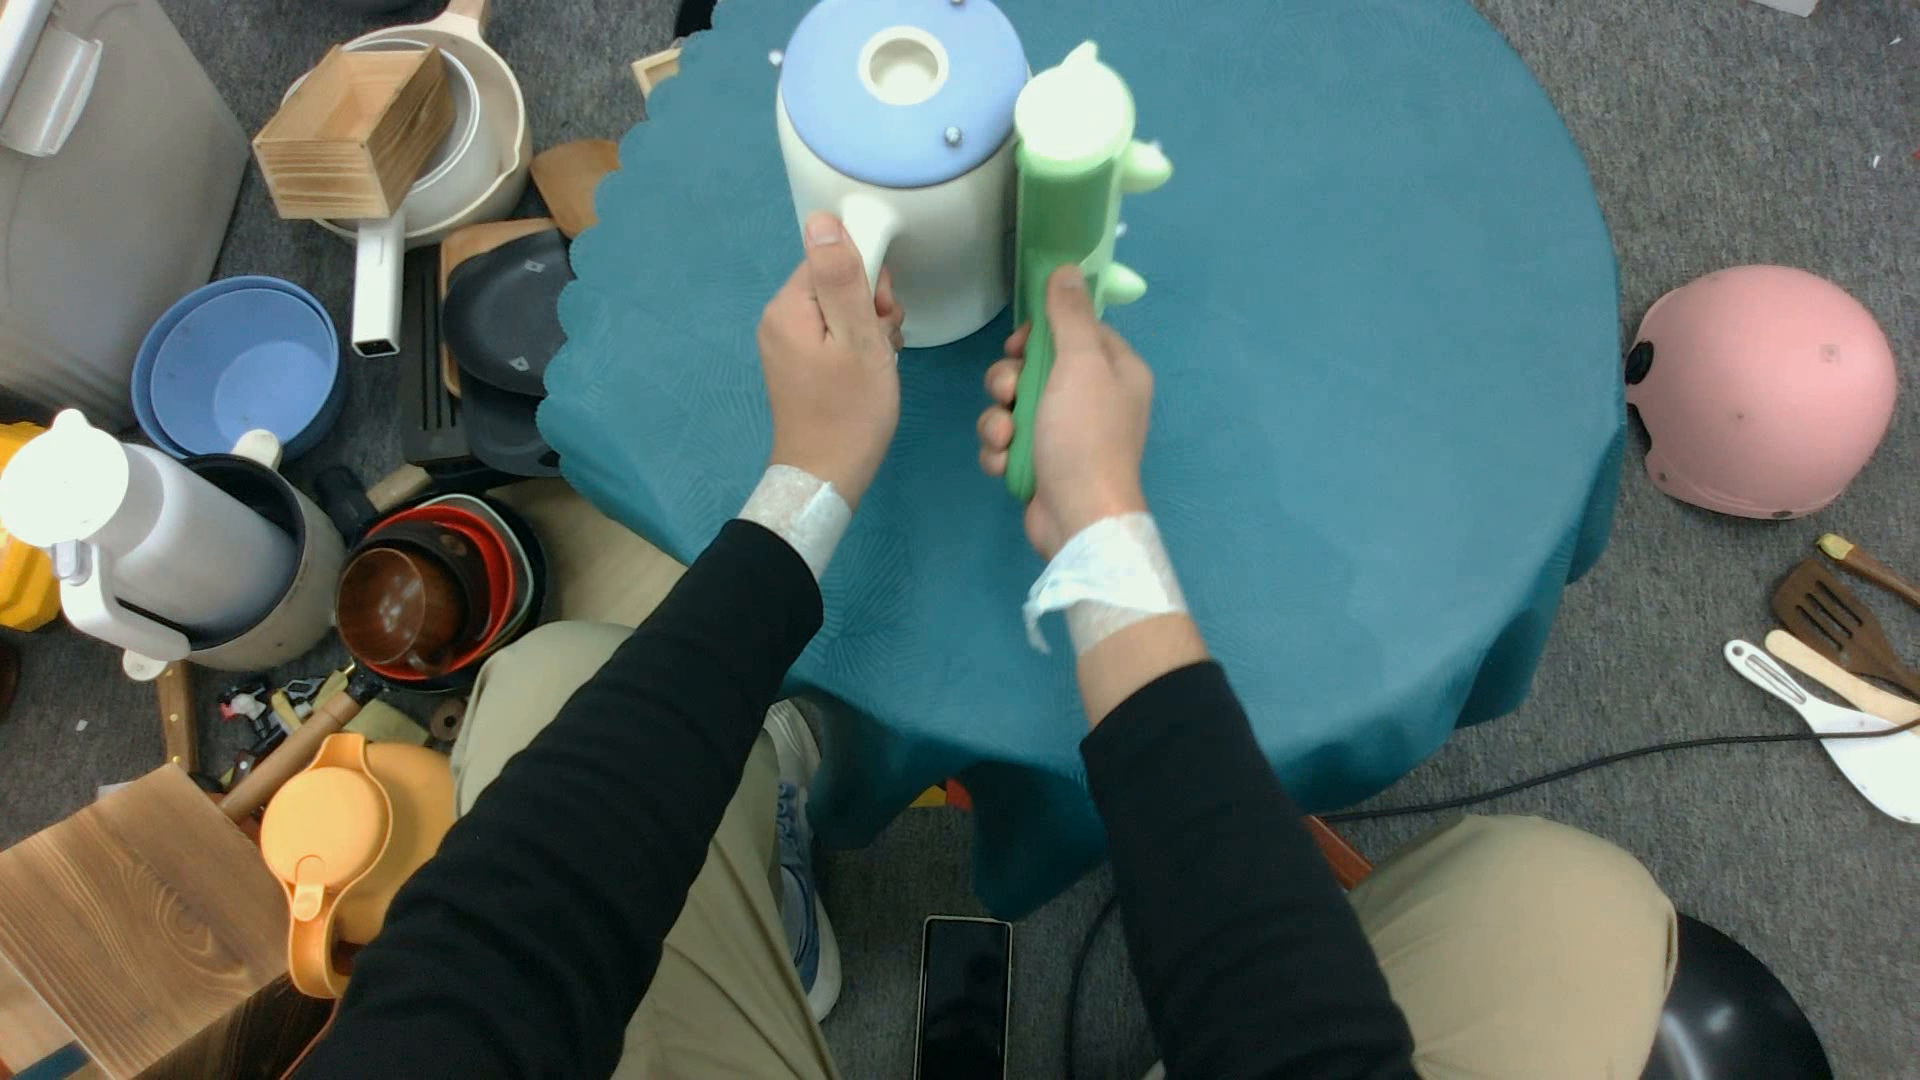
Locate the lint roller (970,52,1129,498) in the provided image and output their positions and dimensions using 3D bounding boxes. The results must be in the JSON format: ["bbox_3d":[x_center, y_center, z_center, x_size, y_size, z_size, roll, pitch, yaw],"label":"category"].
[{"bbox_3d":[0.043,-0.110,0.687,0.082,0.198,0.184,-3,74,2],"label":"lint roller"}]

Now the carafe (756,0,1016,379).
[{"bbox_3d":[-0.043,-0.183,0.733,0.132,0.182,0.191,12,75,4],"label":"carafe"}]
